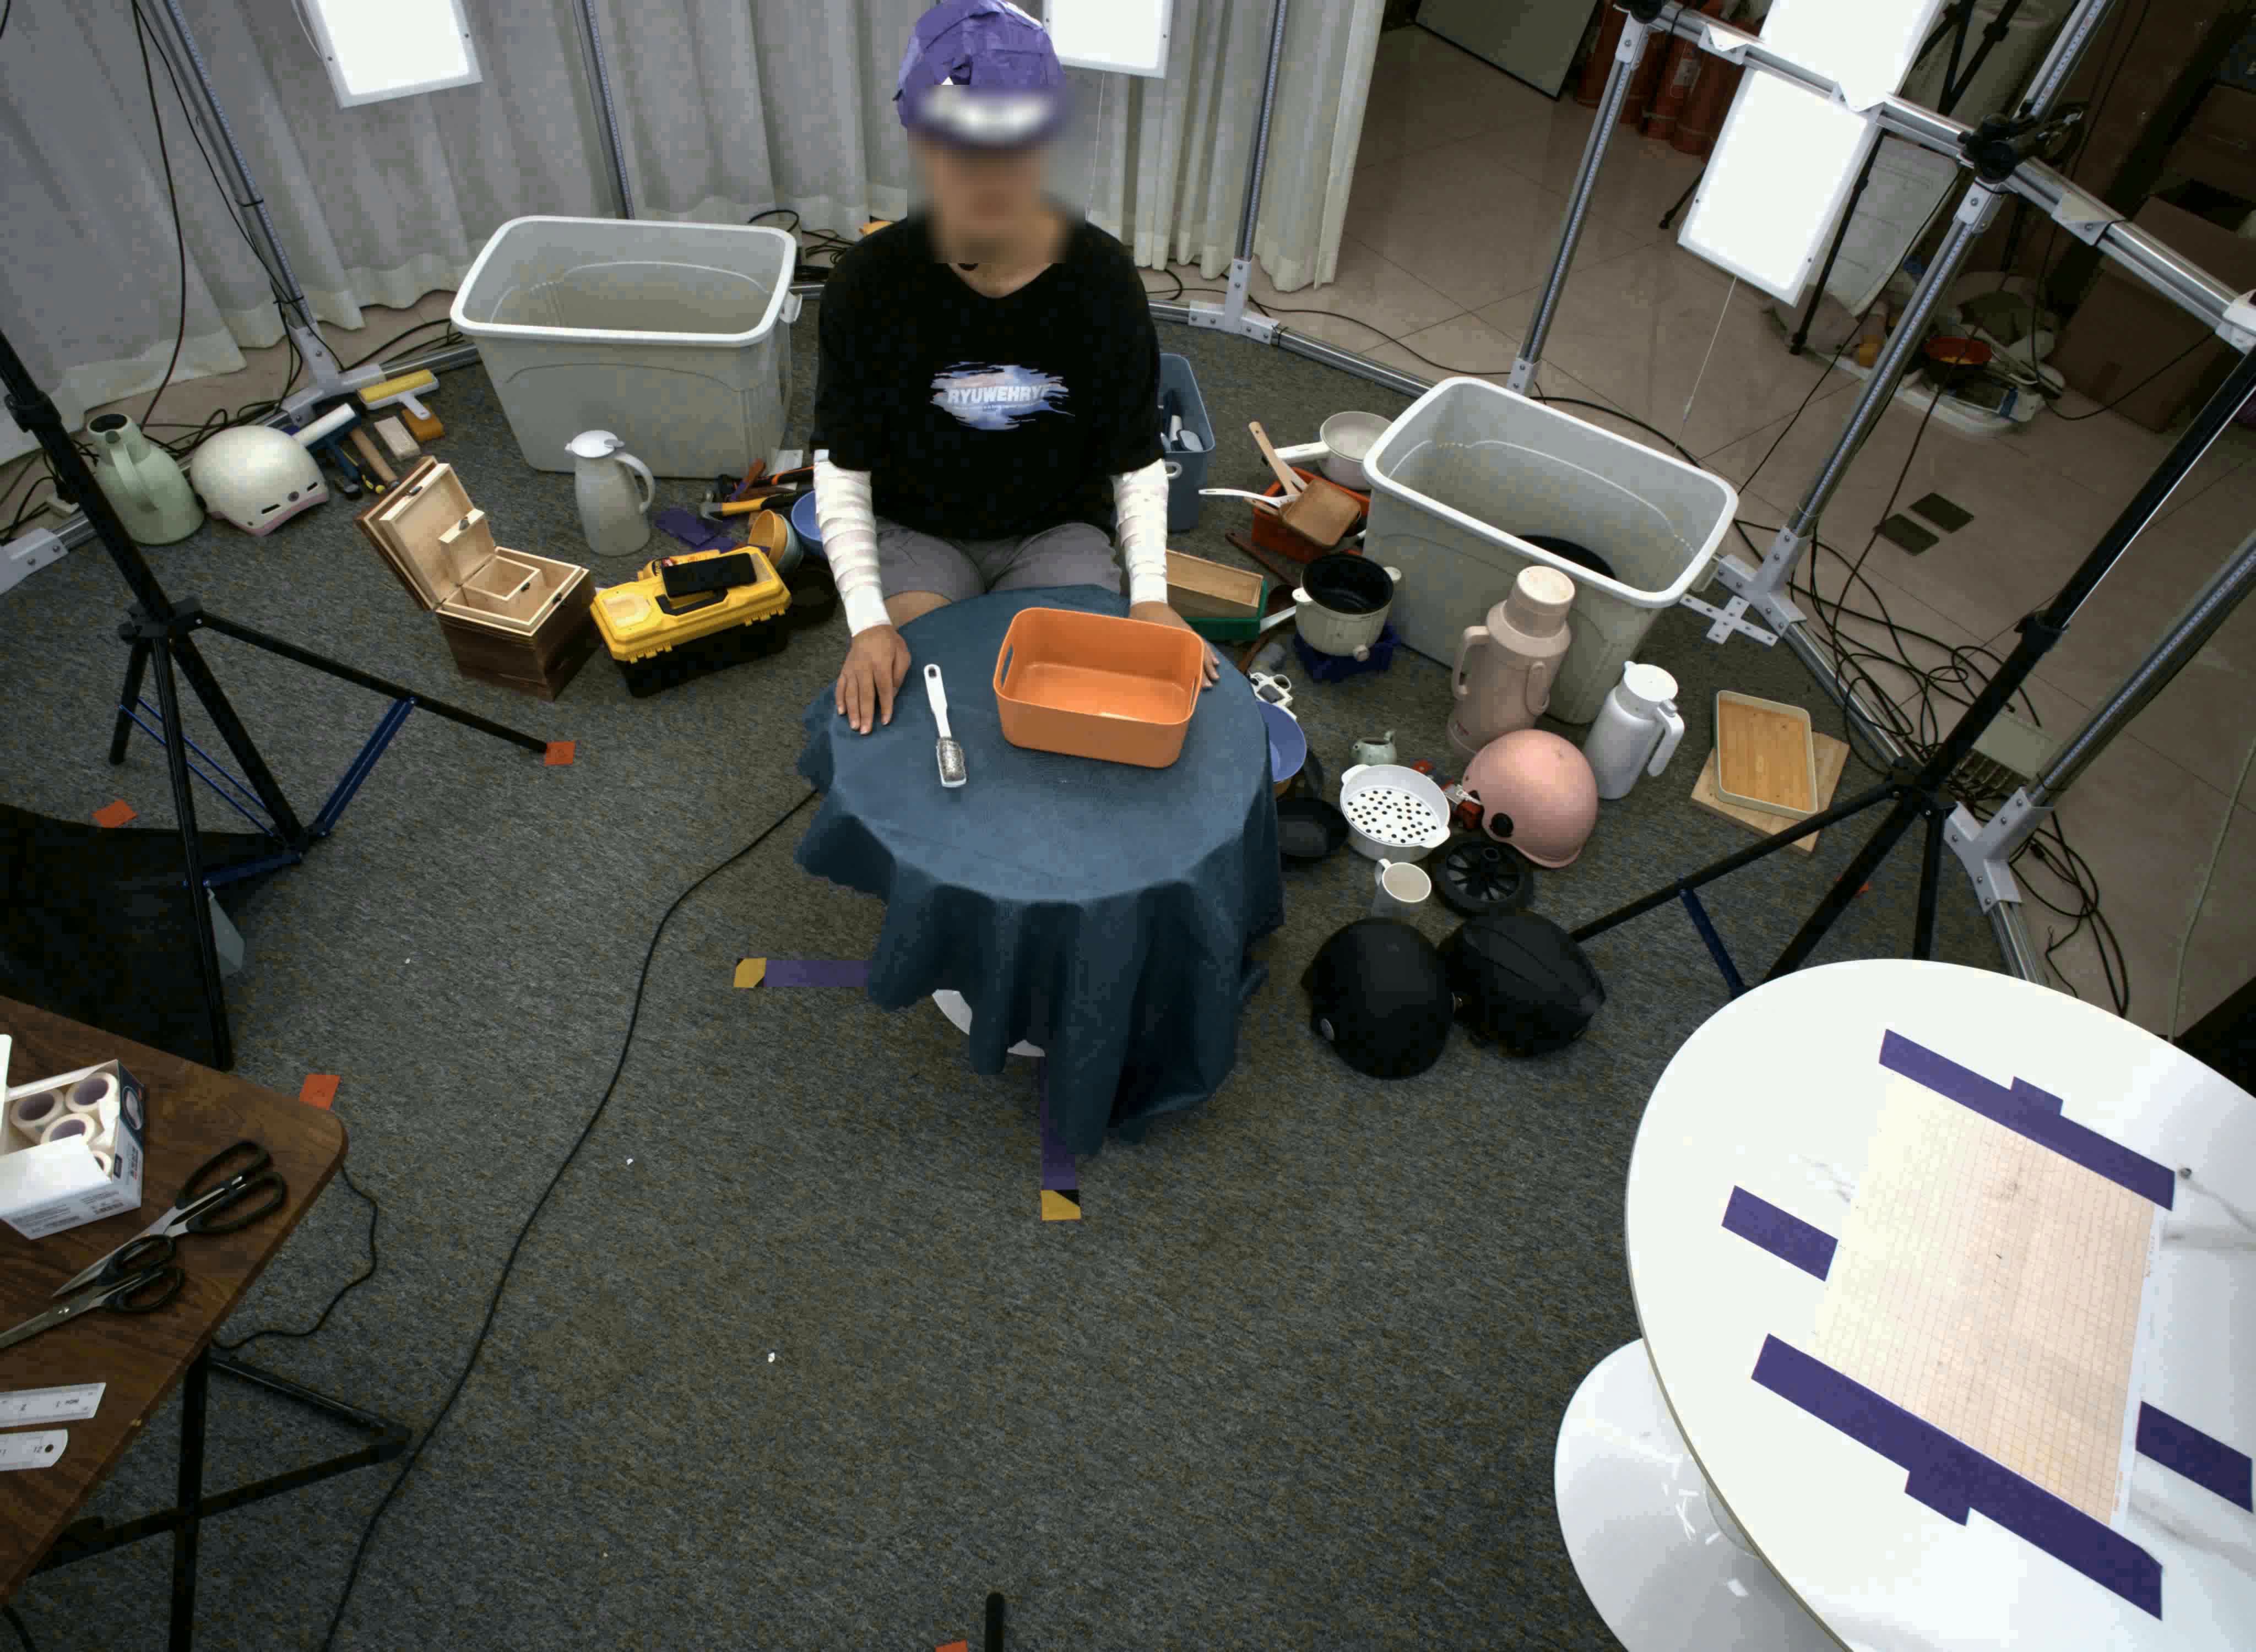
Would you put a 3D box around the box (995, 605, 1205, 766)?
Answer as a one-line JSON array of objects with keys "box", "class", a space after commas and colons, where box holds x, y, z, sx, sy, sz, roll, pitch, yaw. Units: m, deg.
[{"box": [-0.038, -0.191, 1.766, 0.273, 0.100, 0.204, 9, 50, 3], "class": "box"}]

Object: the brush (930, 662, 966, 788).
[{"box": [-0.250, -0.151, 1.757, 0.034, 0.049, 0.250, -7, 51, -7], "class": "brush"}]
